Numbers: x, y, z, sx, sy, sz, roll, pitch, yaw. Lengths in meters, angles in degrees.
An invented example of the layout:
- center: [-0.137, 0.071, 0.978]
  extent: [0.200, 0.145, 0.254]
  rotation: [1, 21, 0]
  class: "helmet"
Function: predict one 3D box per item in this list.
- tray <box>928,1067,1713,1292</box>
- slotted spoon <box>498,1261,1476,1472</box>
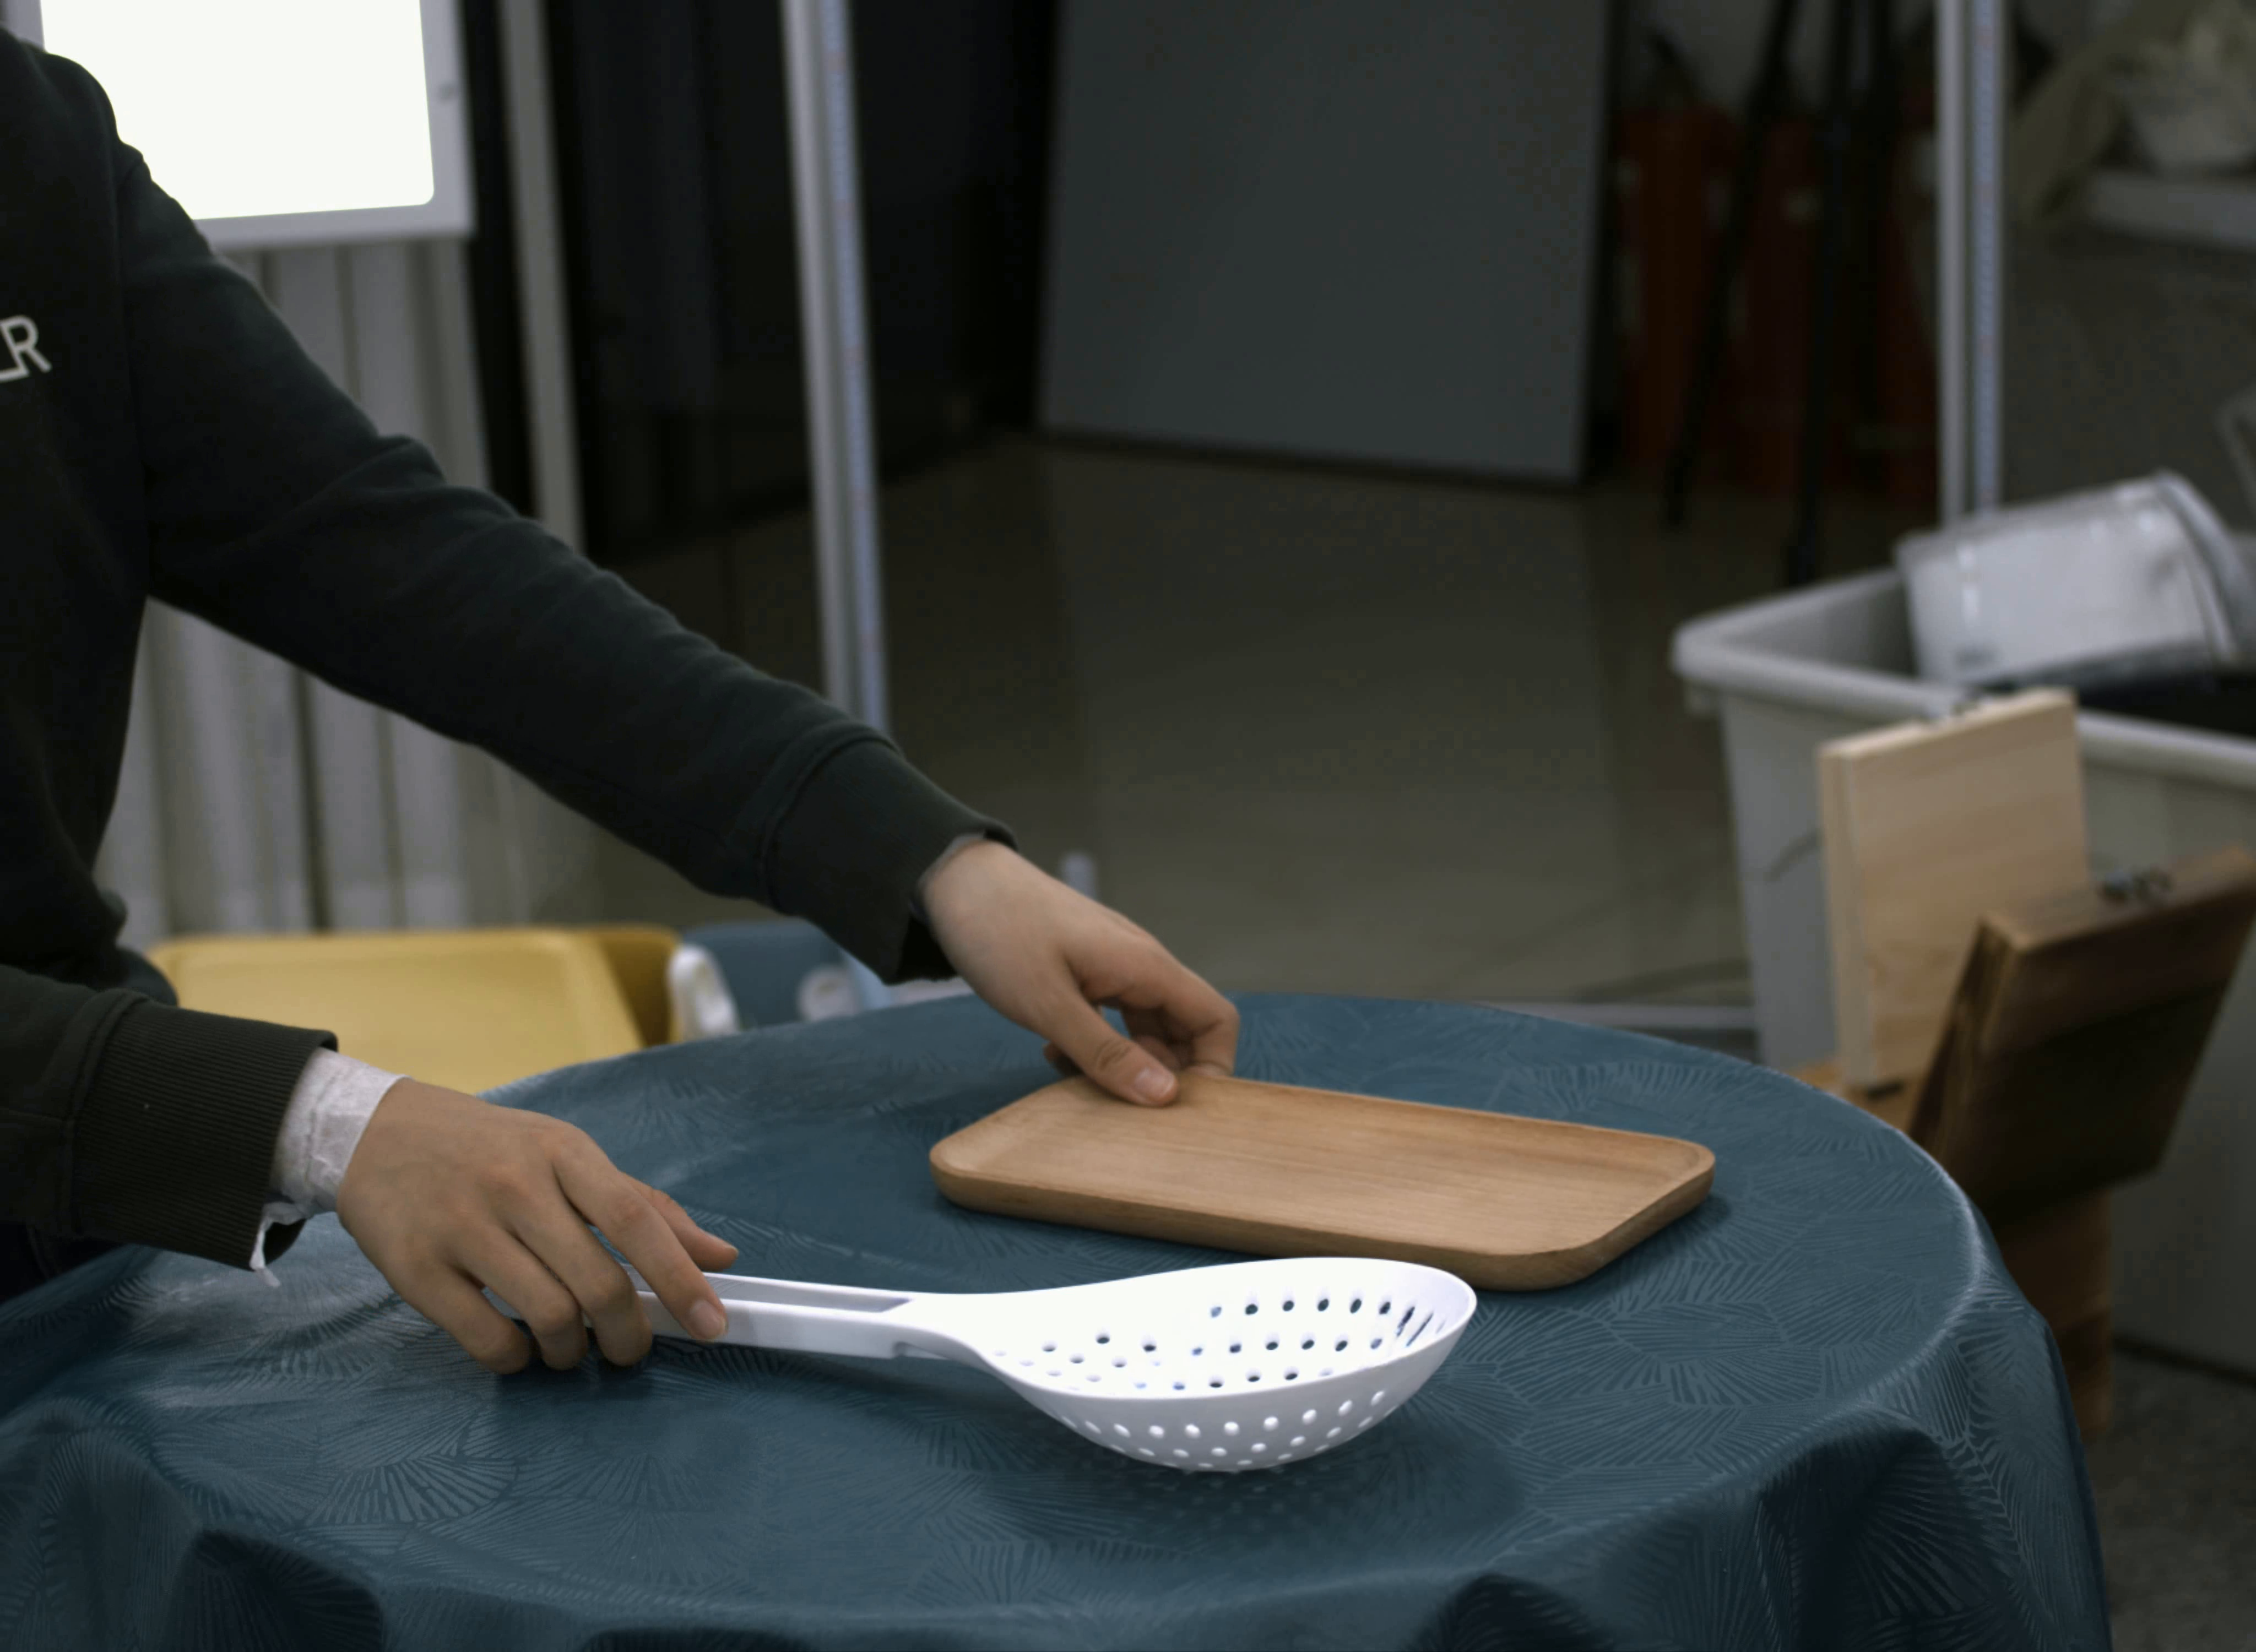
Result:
- center: [0.061, 0.113, 1.750]
  extent: [0.252, 0.023, 0.128]
  rotation: [5, 15, 35]
  class: "tray"
- center: [-0.053, 0.147, 1.586]
  extent: [0.352, 0.046, 0.133]
  rotation: [6, 15, 37]
  class: "slotted spoon"
